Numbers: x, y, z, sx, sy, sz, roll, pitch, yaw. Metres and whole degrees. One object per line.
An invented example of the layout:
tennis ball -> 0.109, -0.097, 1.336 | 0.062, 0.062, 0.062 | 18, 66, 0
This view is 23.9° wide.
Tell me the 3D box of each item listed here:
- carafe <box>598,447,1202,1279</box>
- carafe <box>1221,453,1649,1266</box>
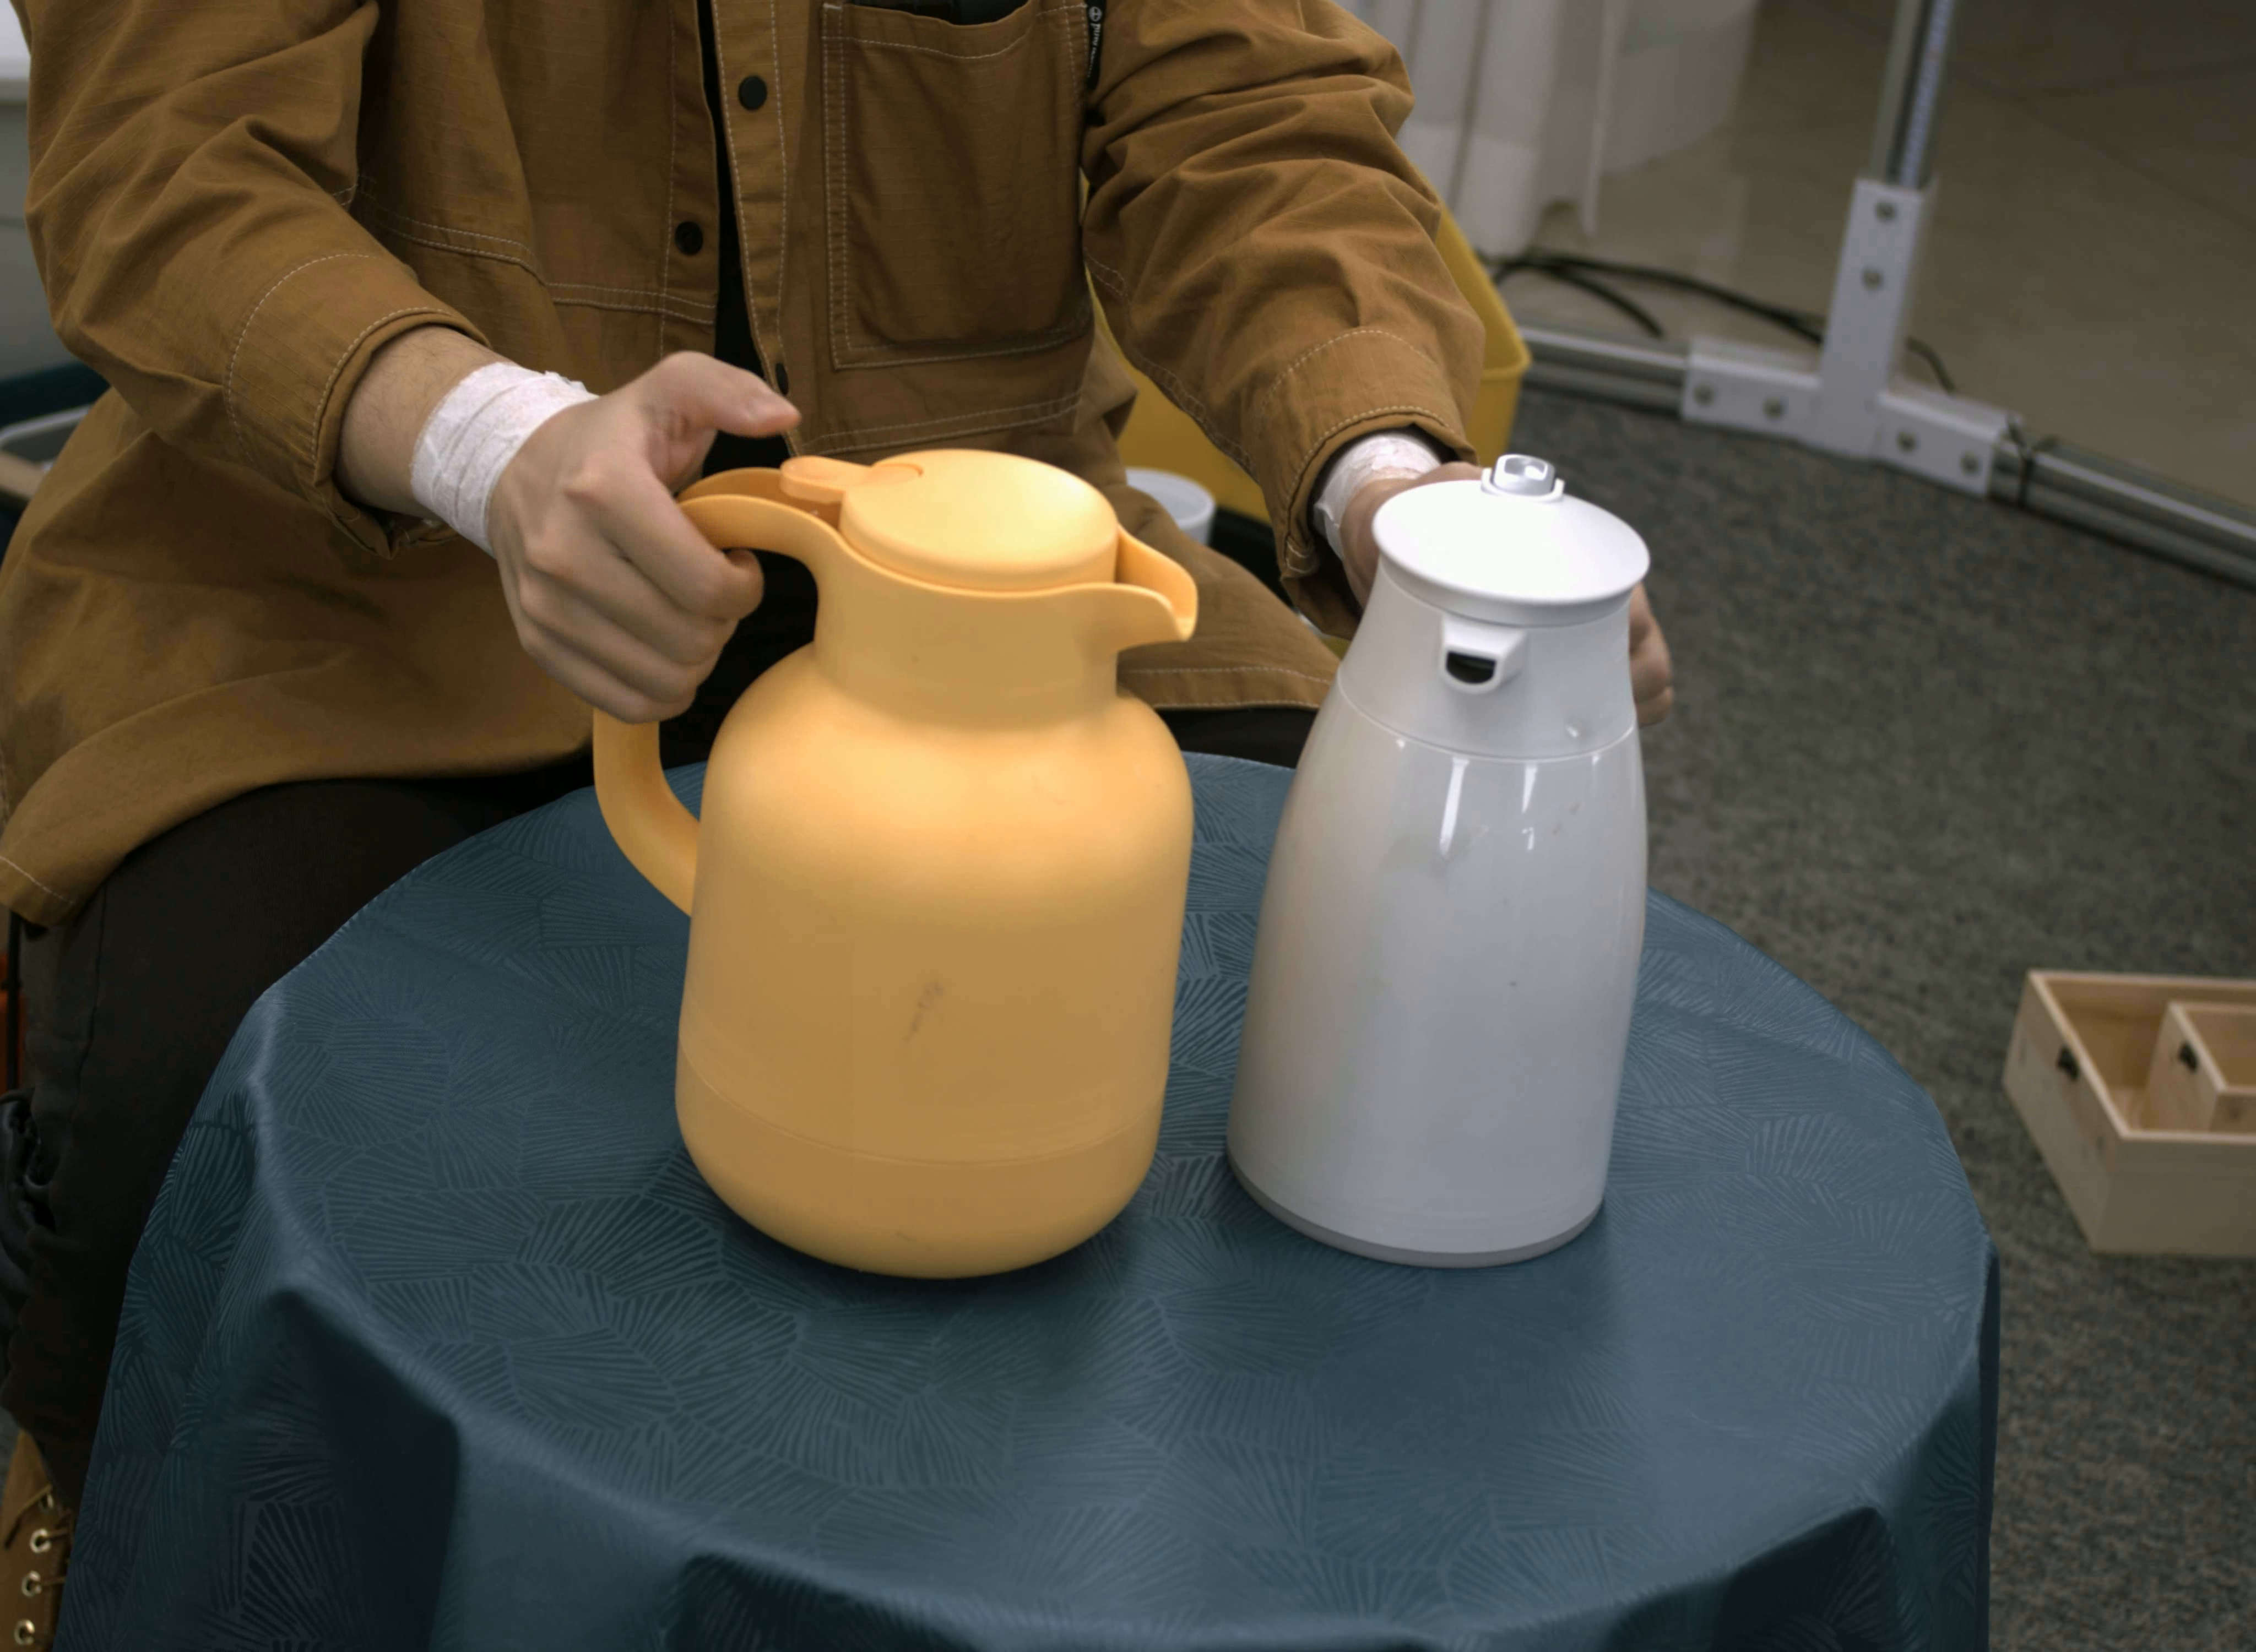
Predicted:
carafe -> -0.078, 0.002, 1.742 | 0.203, 0.260, 0.163 | 16, 26, 15
carafe -> 0.114, 0.000, 1.800 | 0.132, 0.248, 0.168 | 11, 26, 8
